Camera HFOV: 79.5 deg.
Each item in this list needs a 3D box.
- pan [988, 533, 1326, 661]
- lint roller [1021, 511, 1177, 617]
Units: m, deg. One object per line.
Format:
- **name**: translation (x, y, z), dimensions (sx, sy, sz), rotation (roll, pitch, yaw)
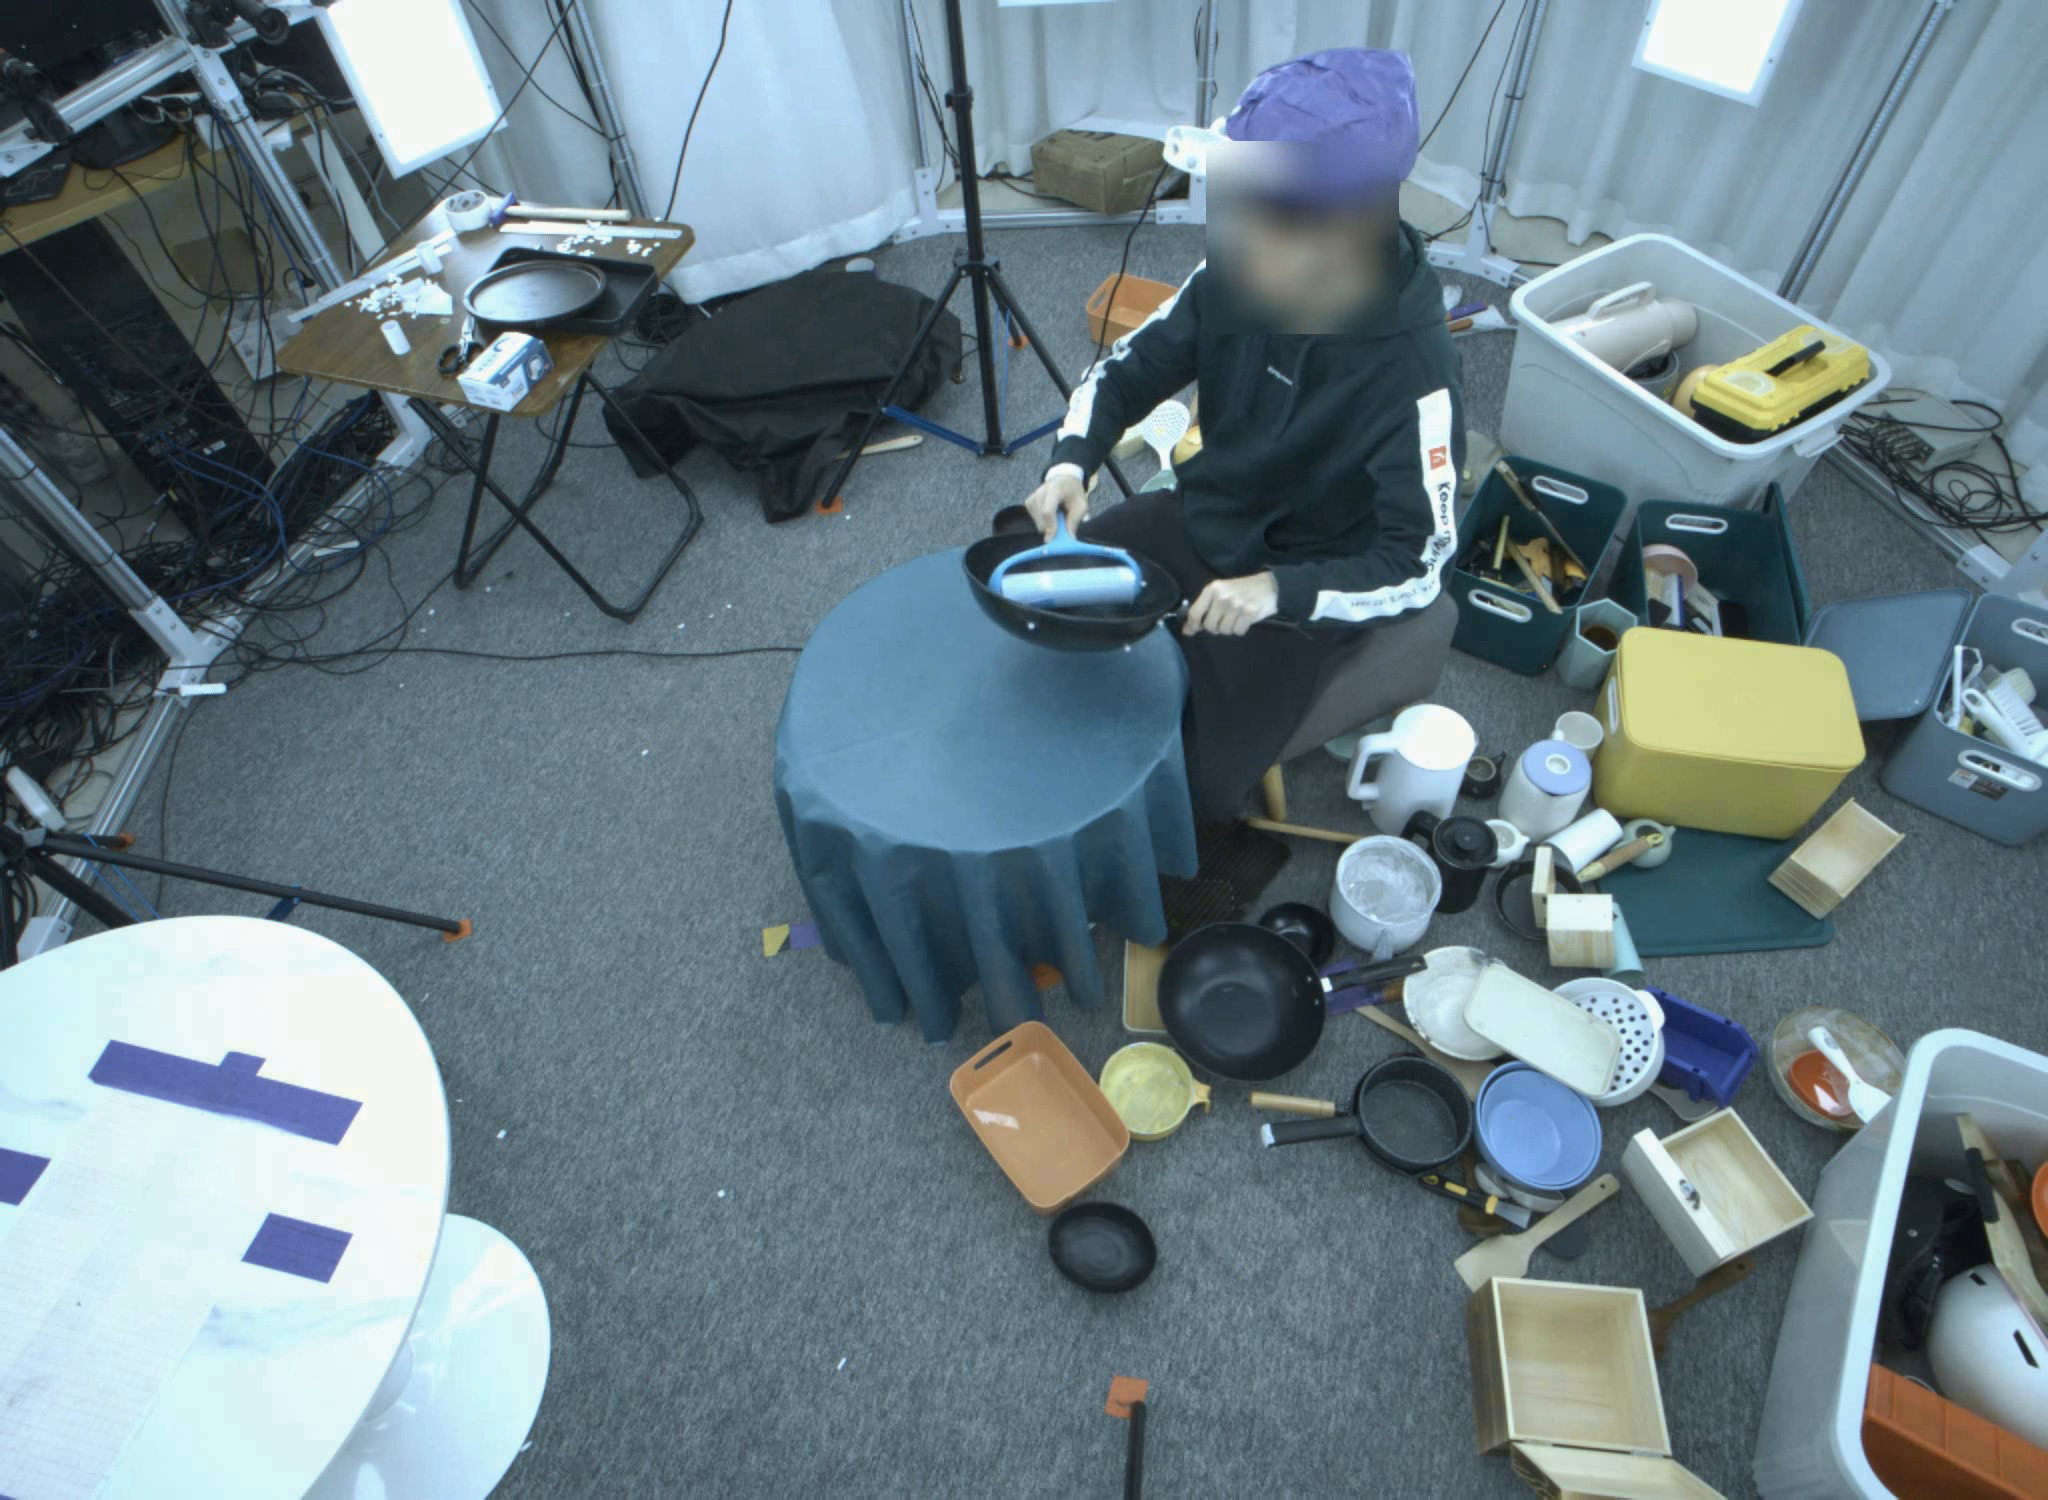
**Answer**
- **pan**: translation (0.175, -0.187, 1.703), dimensions (0.472, 0.112, 0.312), rotation (20, 33, 14)
- **lint roller**: translation (0.097, -0.275, 1.763), dimensions (0.230, 0.068, 0.179), rotation (-8, 76, -10)
